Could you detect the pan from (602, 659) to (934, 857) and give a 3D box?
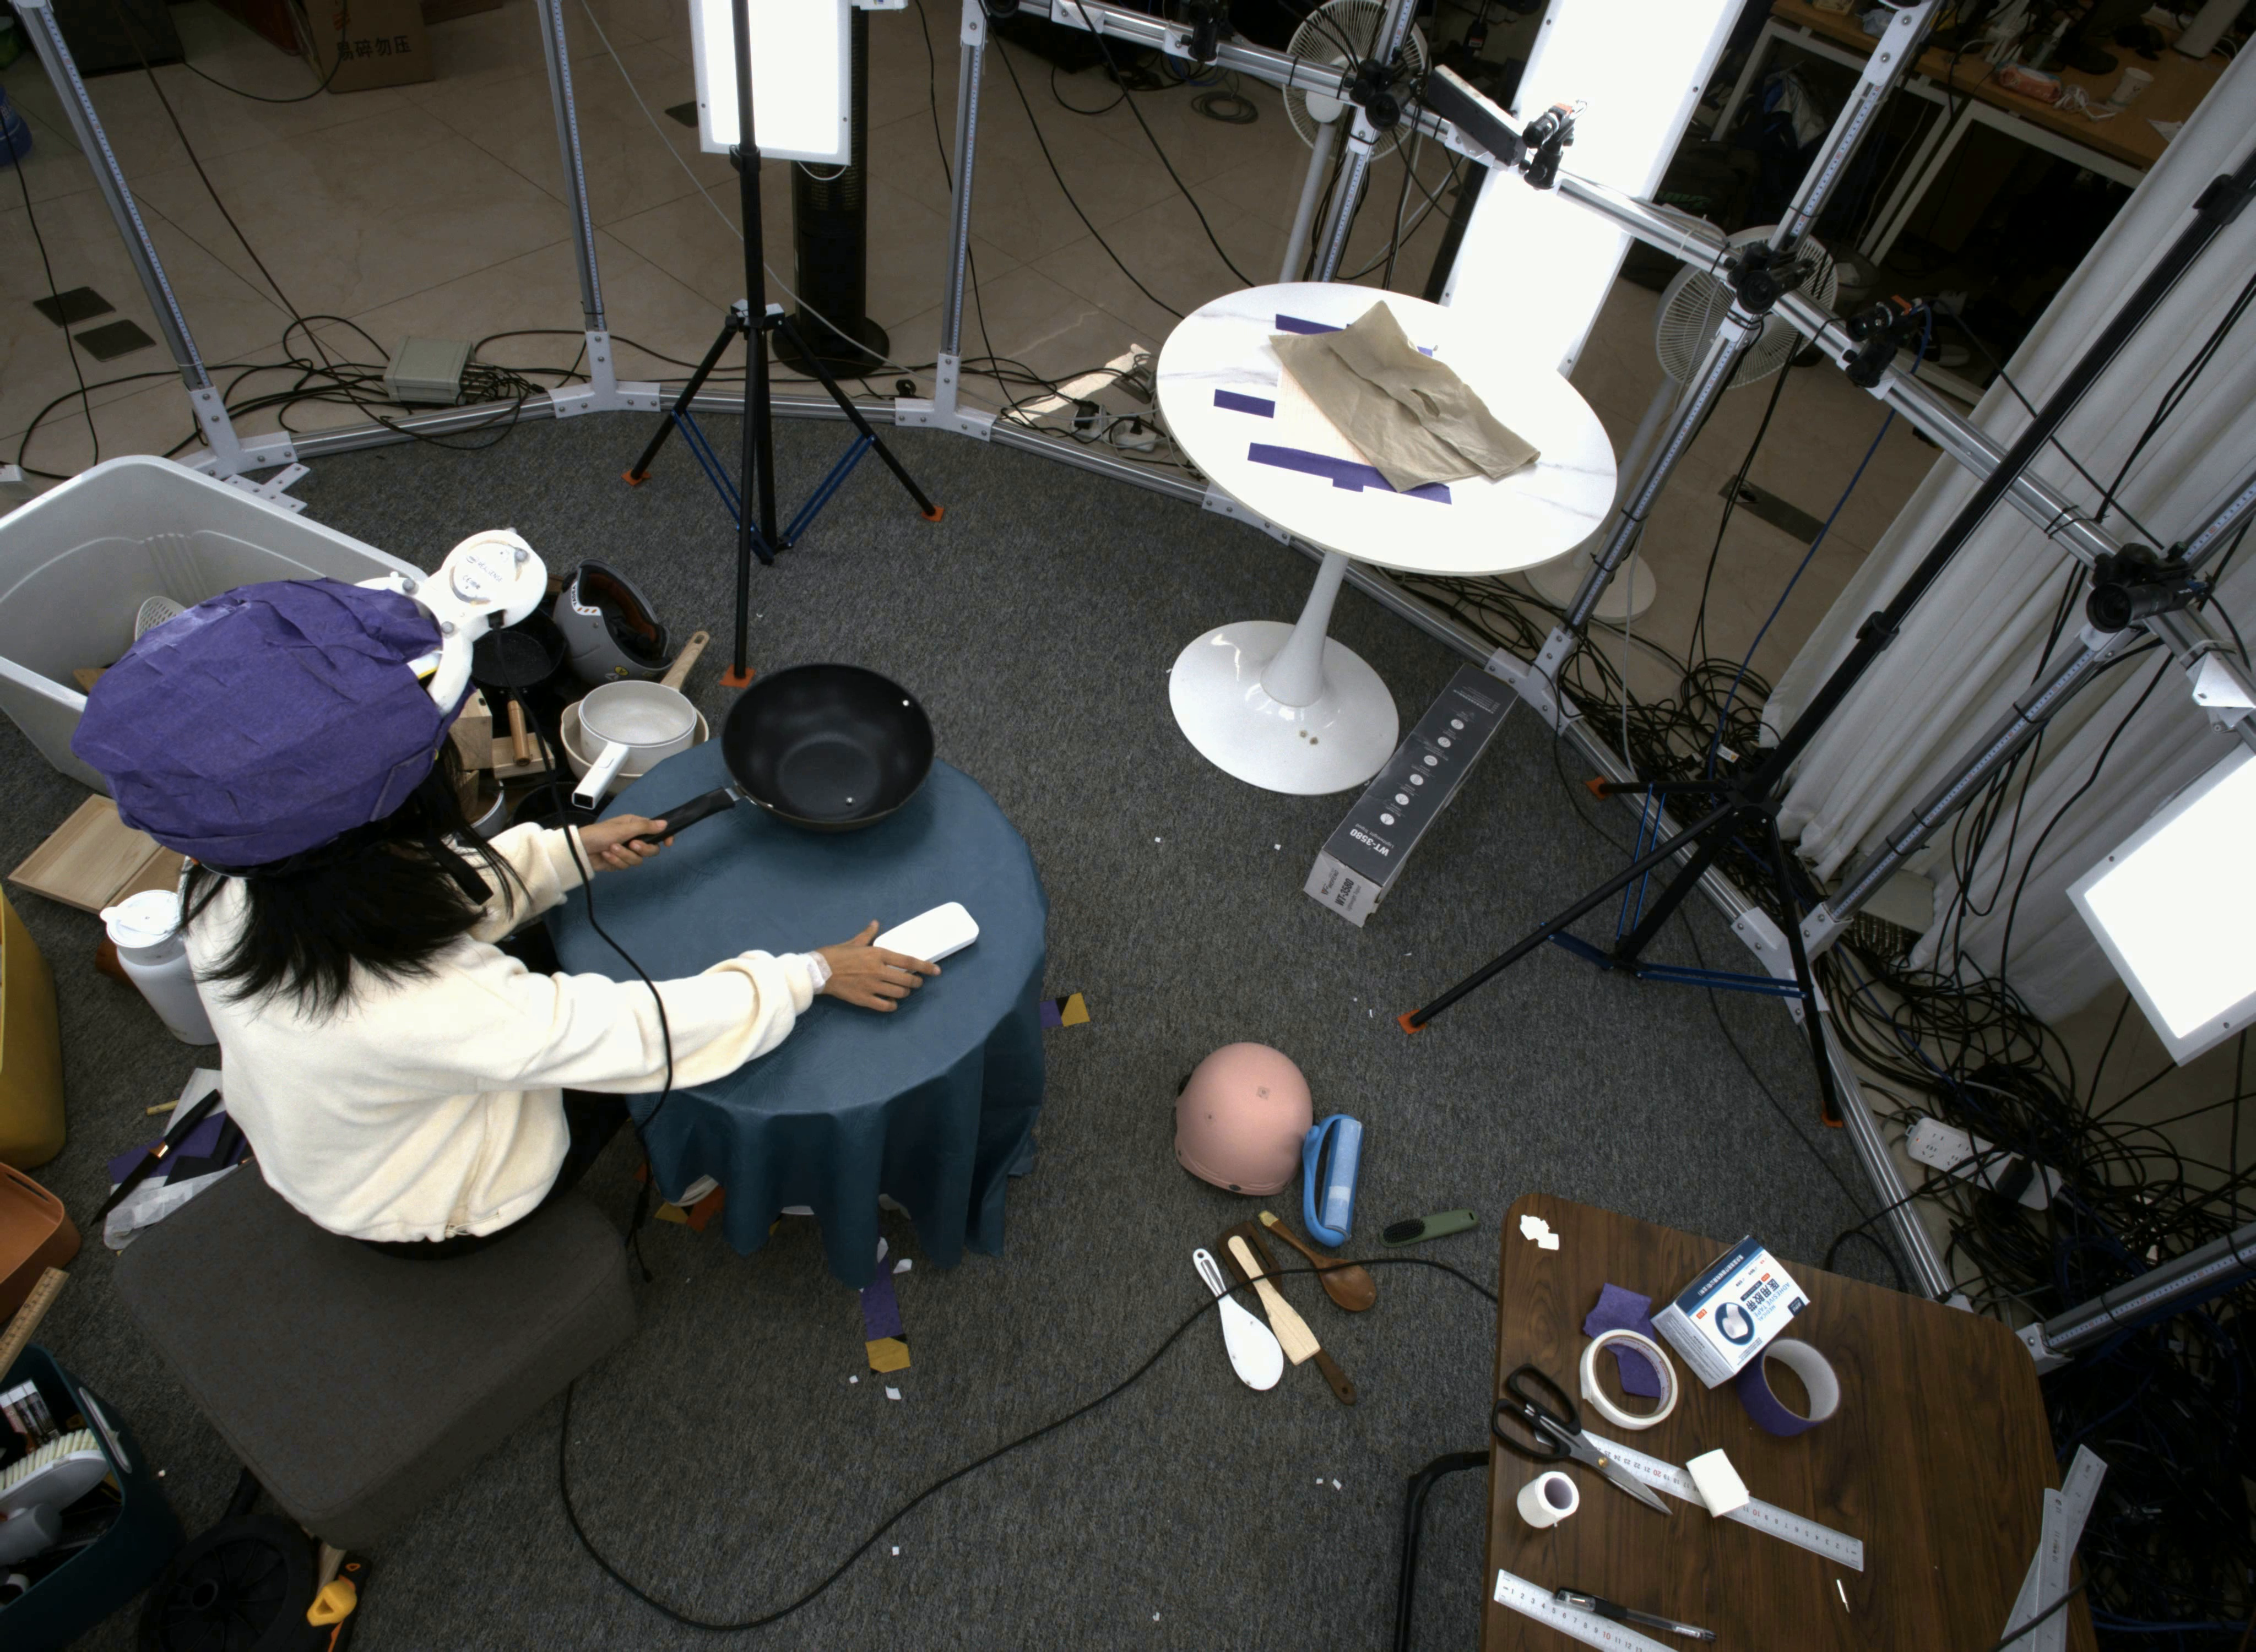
[{"bbox_3d":[-0.468,-0.052,1.692,0.465,0.088,0.281,-33,67,-31],"label":"pan"}]

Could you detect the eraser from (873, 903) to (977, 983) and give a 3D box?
[{"bbox_3d":[-0.255,0.143,1.637,0.132,0.035,0.062,-27,61,-30],"label":"eraser"}]
